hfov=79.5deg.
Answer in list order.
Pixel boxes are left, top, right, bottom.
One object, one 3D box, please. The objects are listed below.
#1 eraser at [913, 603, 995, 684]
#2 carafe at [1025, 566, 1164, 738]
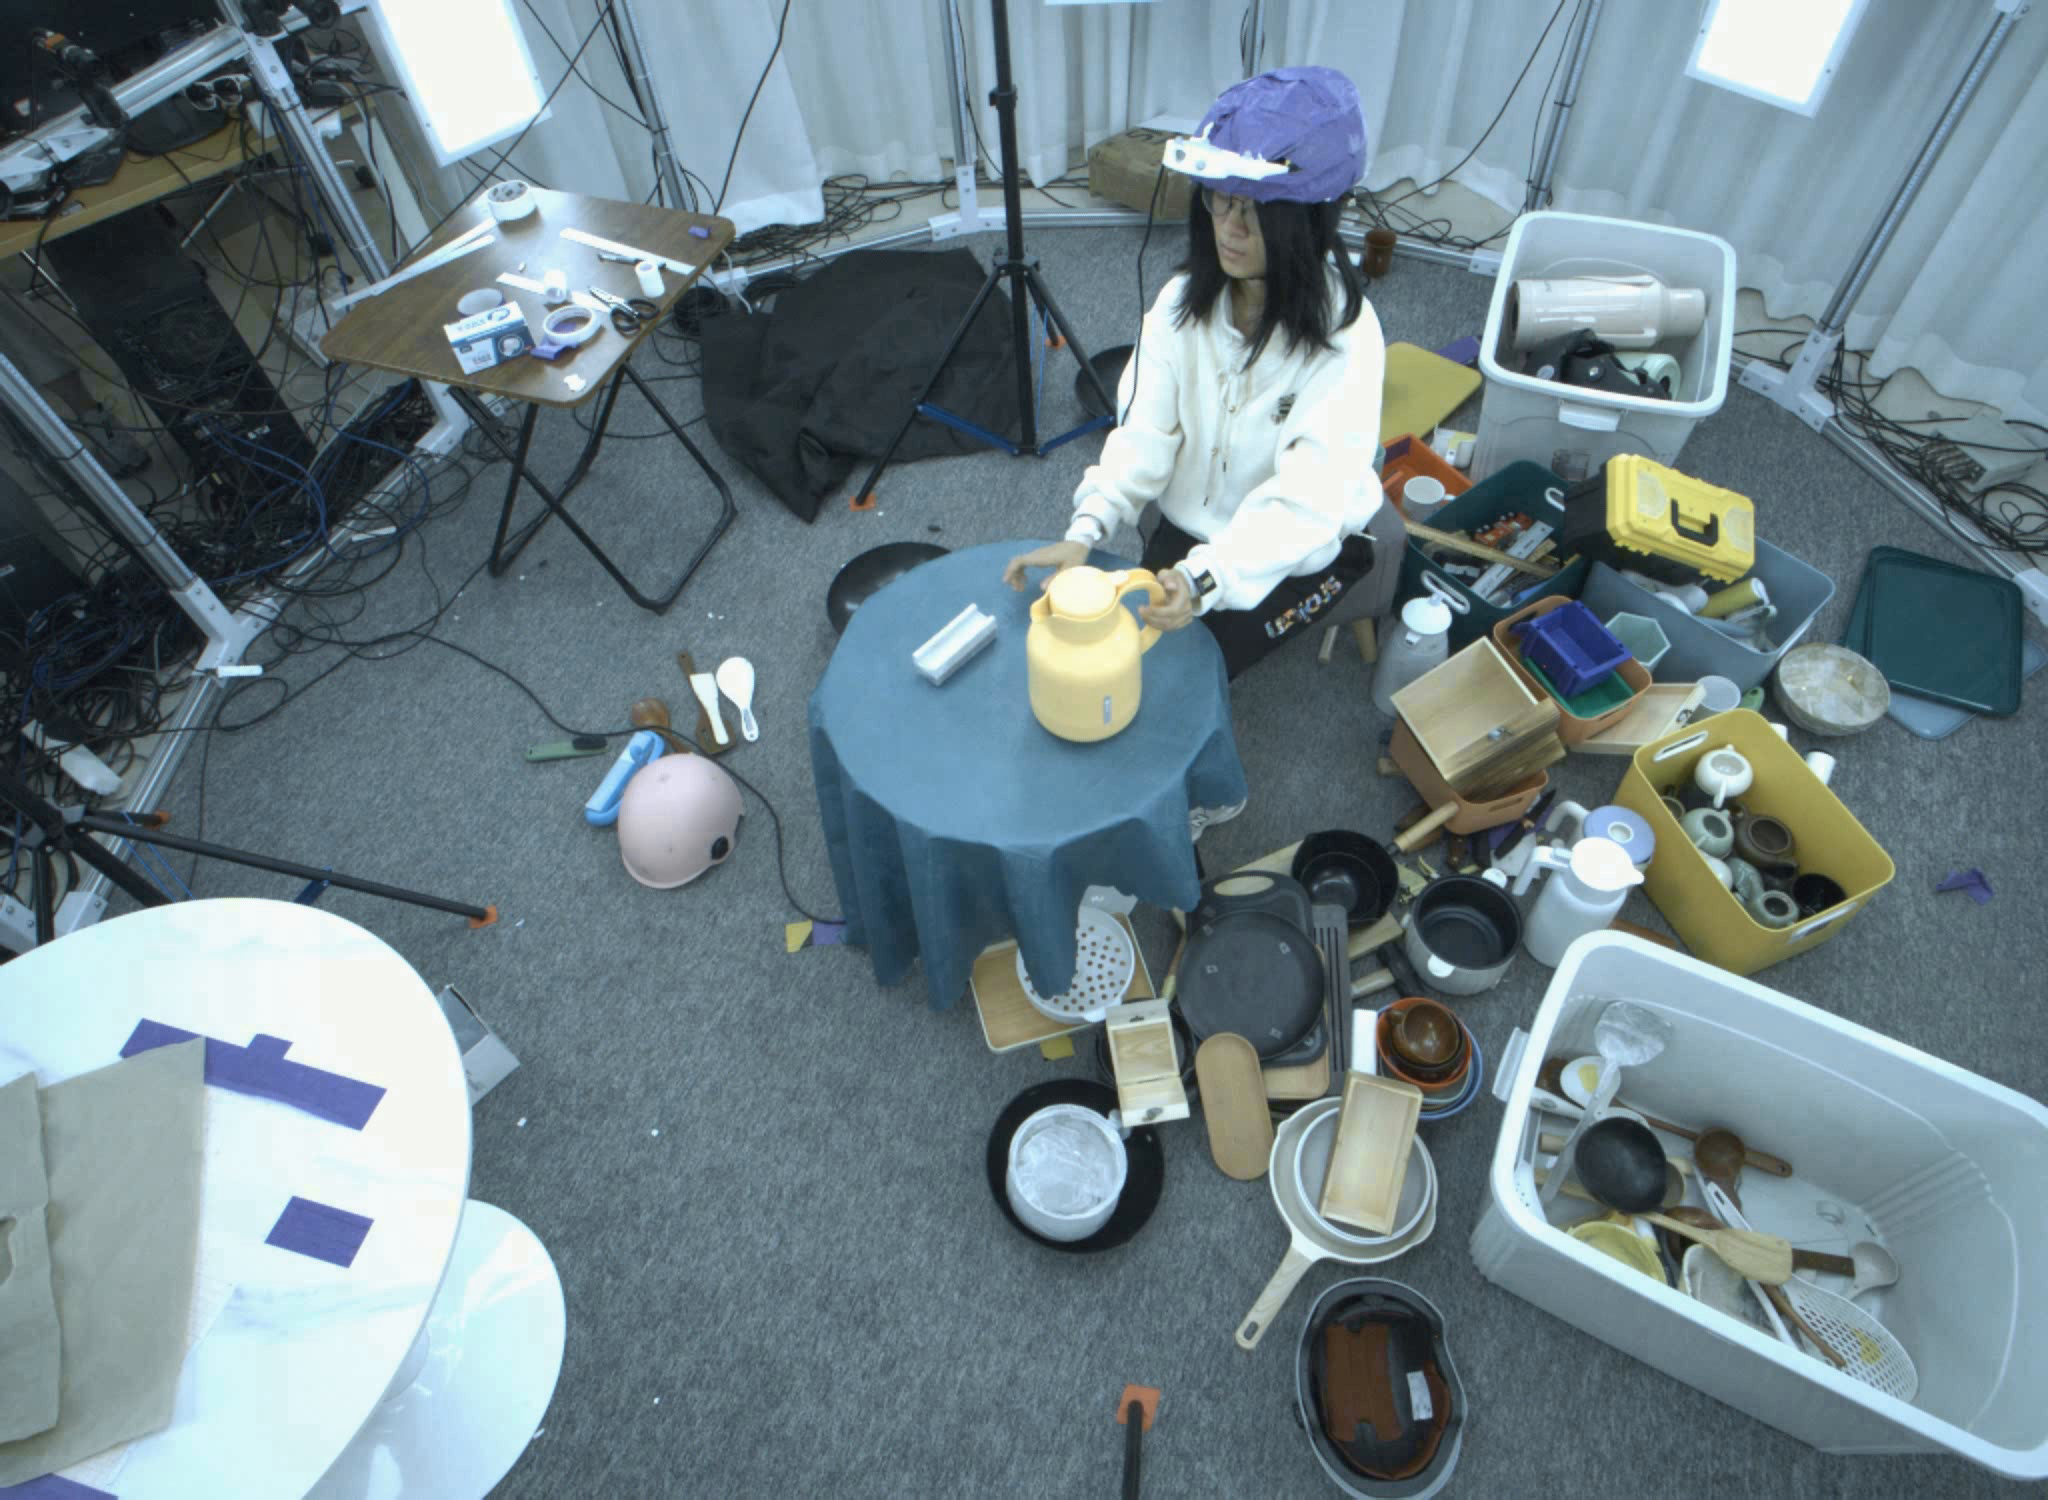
[{"bbox_3d":[-0.106,-0.163,1.878,0.049,0.047,0.135,31,63,26],"label":"eraser"},{"bbox_3d":[0.101,-0.149,1.726,0.203,0.263,0.161,-21,59,-9],"label":"carafe"}]
